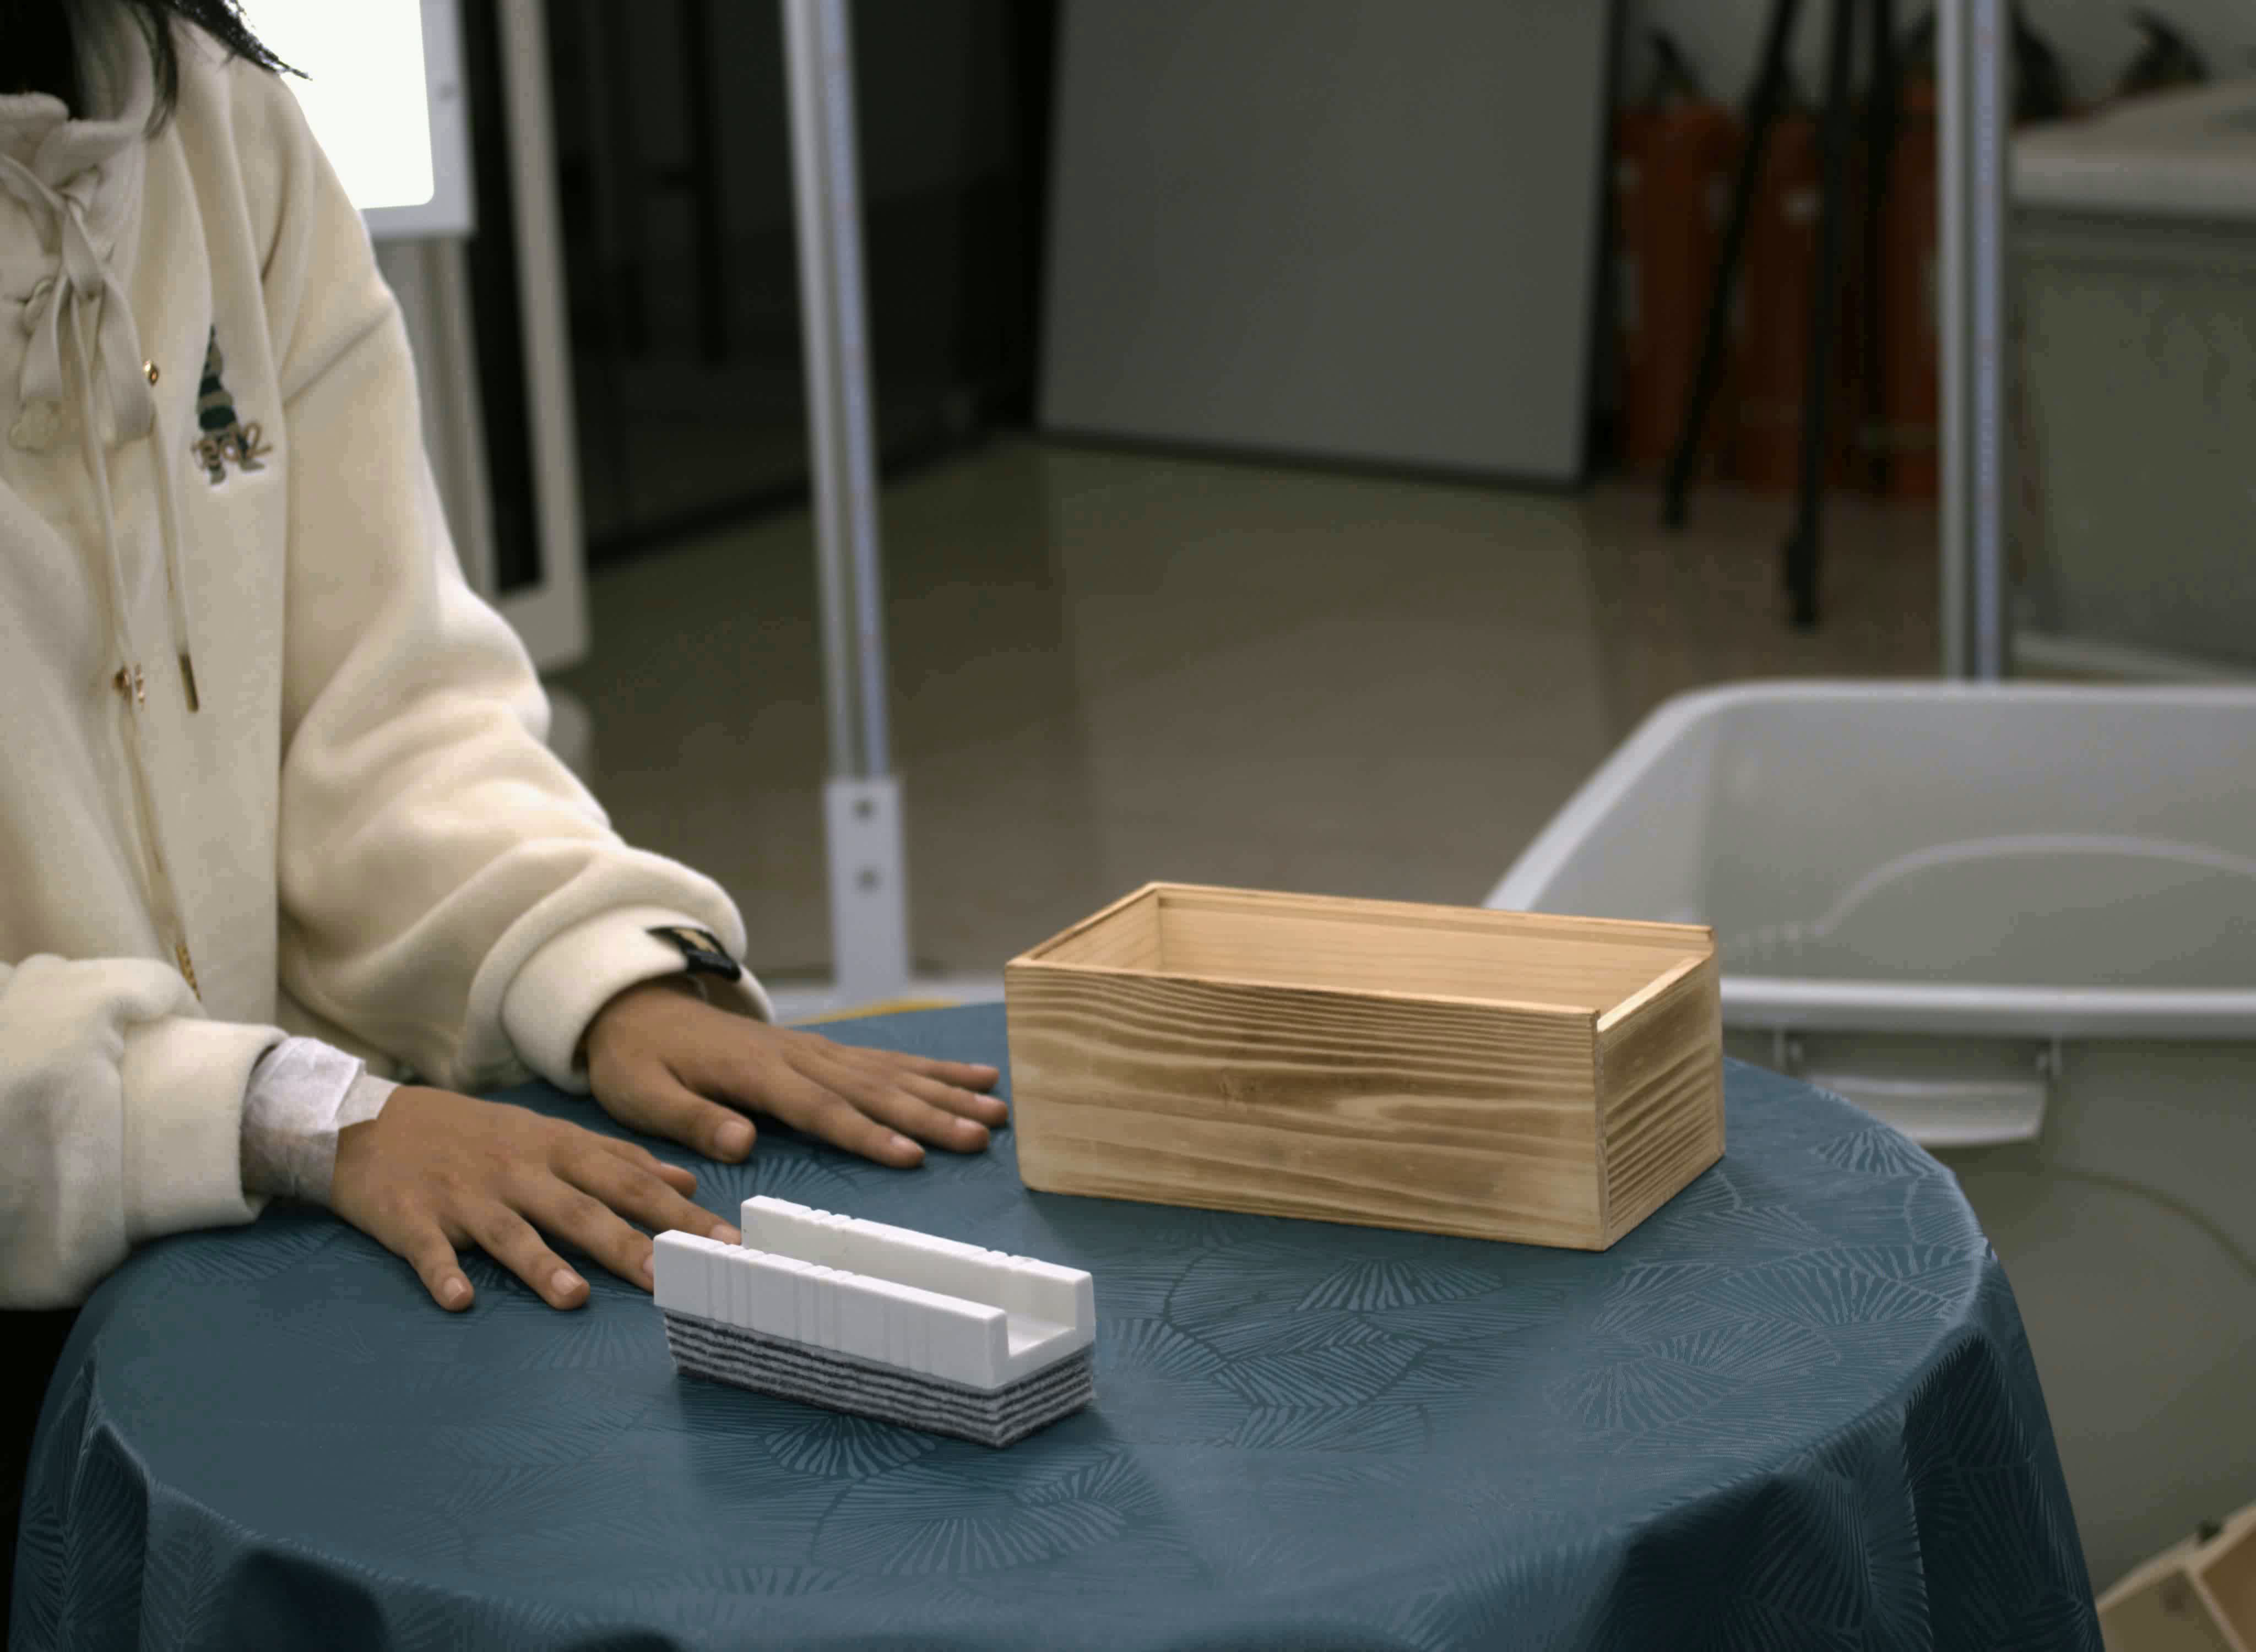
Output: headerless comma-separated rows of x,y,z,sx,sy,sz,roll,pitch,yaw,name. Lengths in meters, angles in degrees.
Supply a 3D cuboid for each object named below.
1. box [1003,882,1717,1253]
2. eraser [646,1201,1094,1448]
0.076,0.076,1.762,0.212,0.081,0.106,4,15,28,box
-0.076,0.146,1.593,0.135,0.047,0.049,8,20,37,eraser
